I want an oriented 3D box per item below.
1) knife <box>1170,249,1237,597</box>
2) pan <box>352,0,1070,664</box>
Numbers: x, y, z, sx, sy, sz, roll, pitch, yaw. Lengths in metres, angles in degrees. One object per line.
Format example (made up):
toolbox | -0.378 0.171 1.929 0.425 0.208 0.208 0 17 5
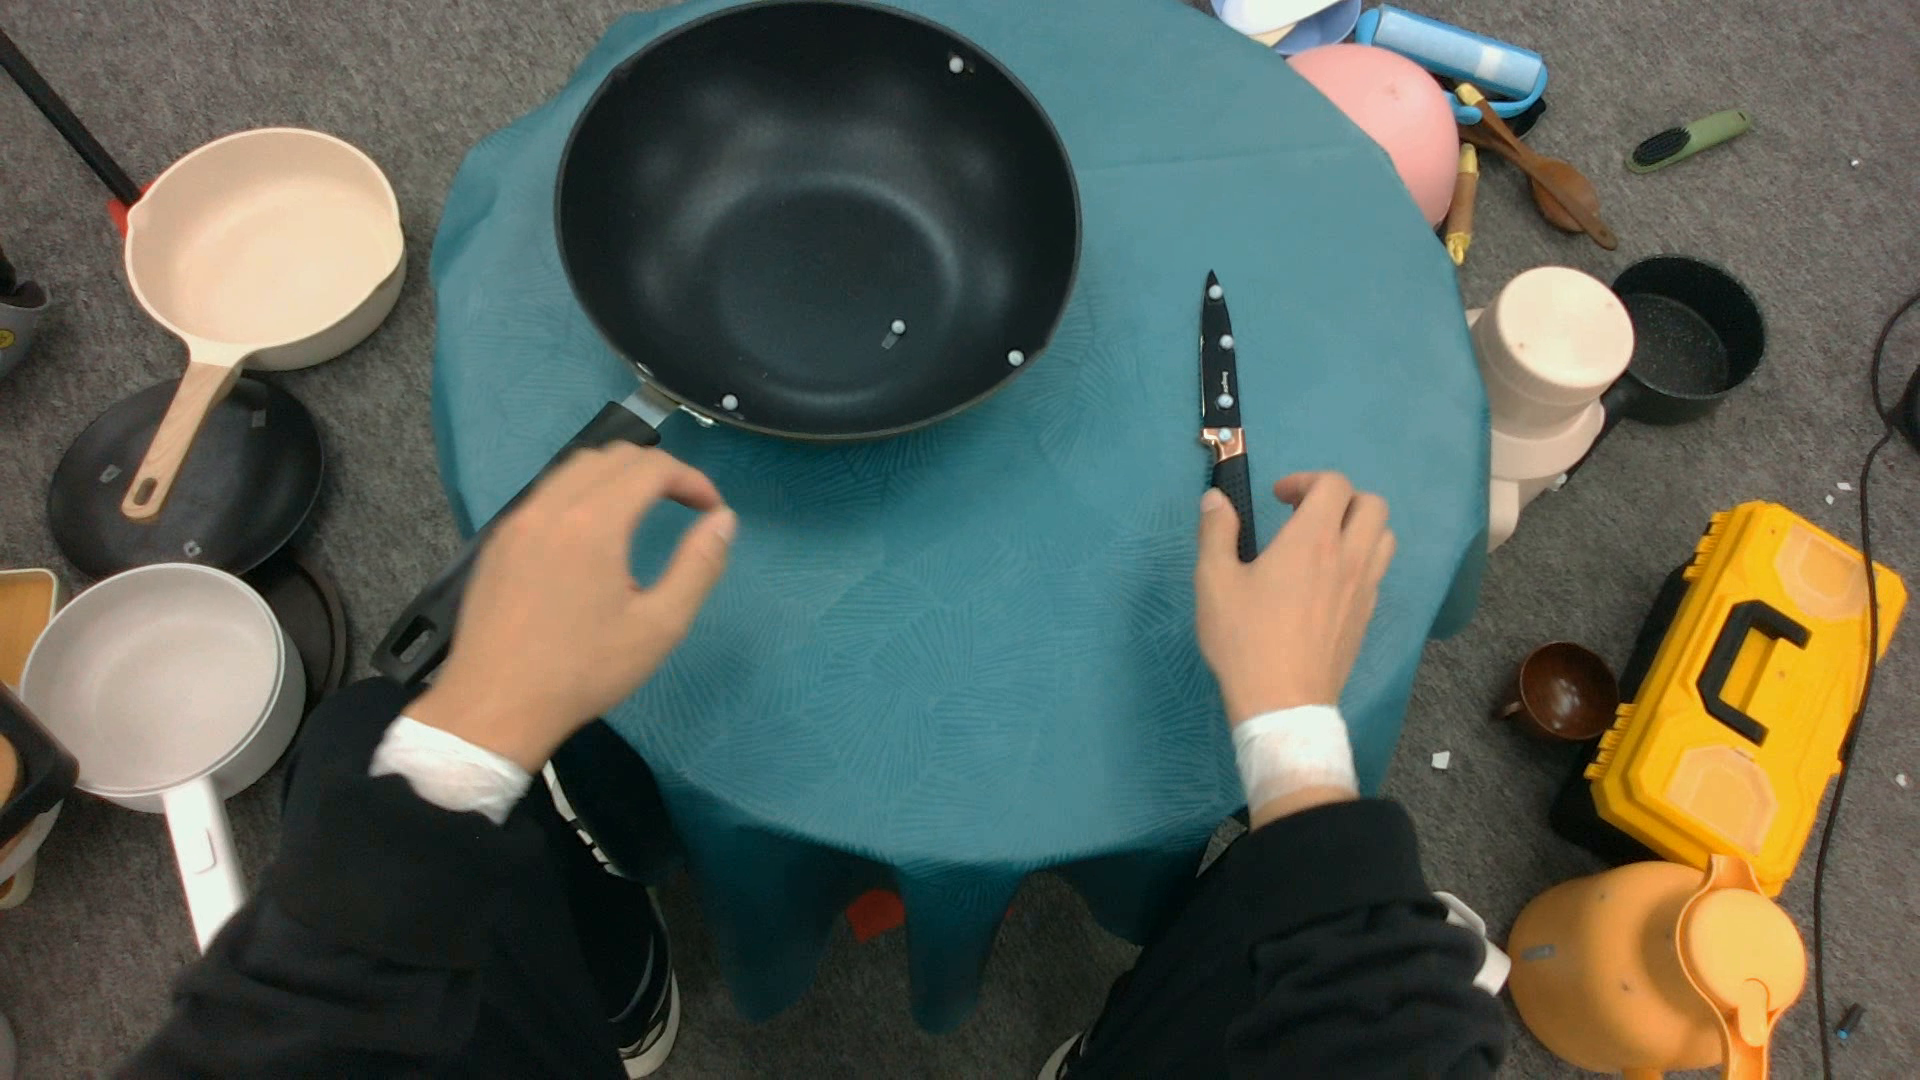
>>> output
knife | 0.140 -0.073 0.794 0.026 0.017 0.226 -5 67 9
pan | -0.136 -0.106 0.742 0.288 0.086 0.465 34 70 8
